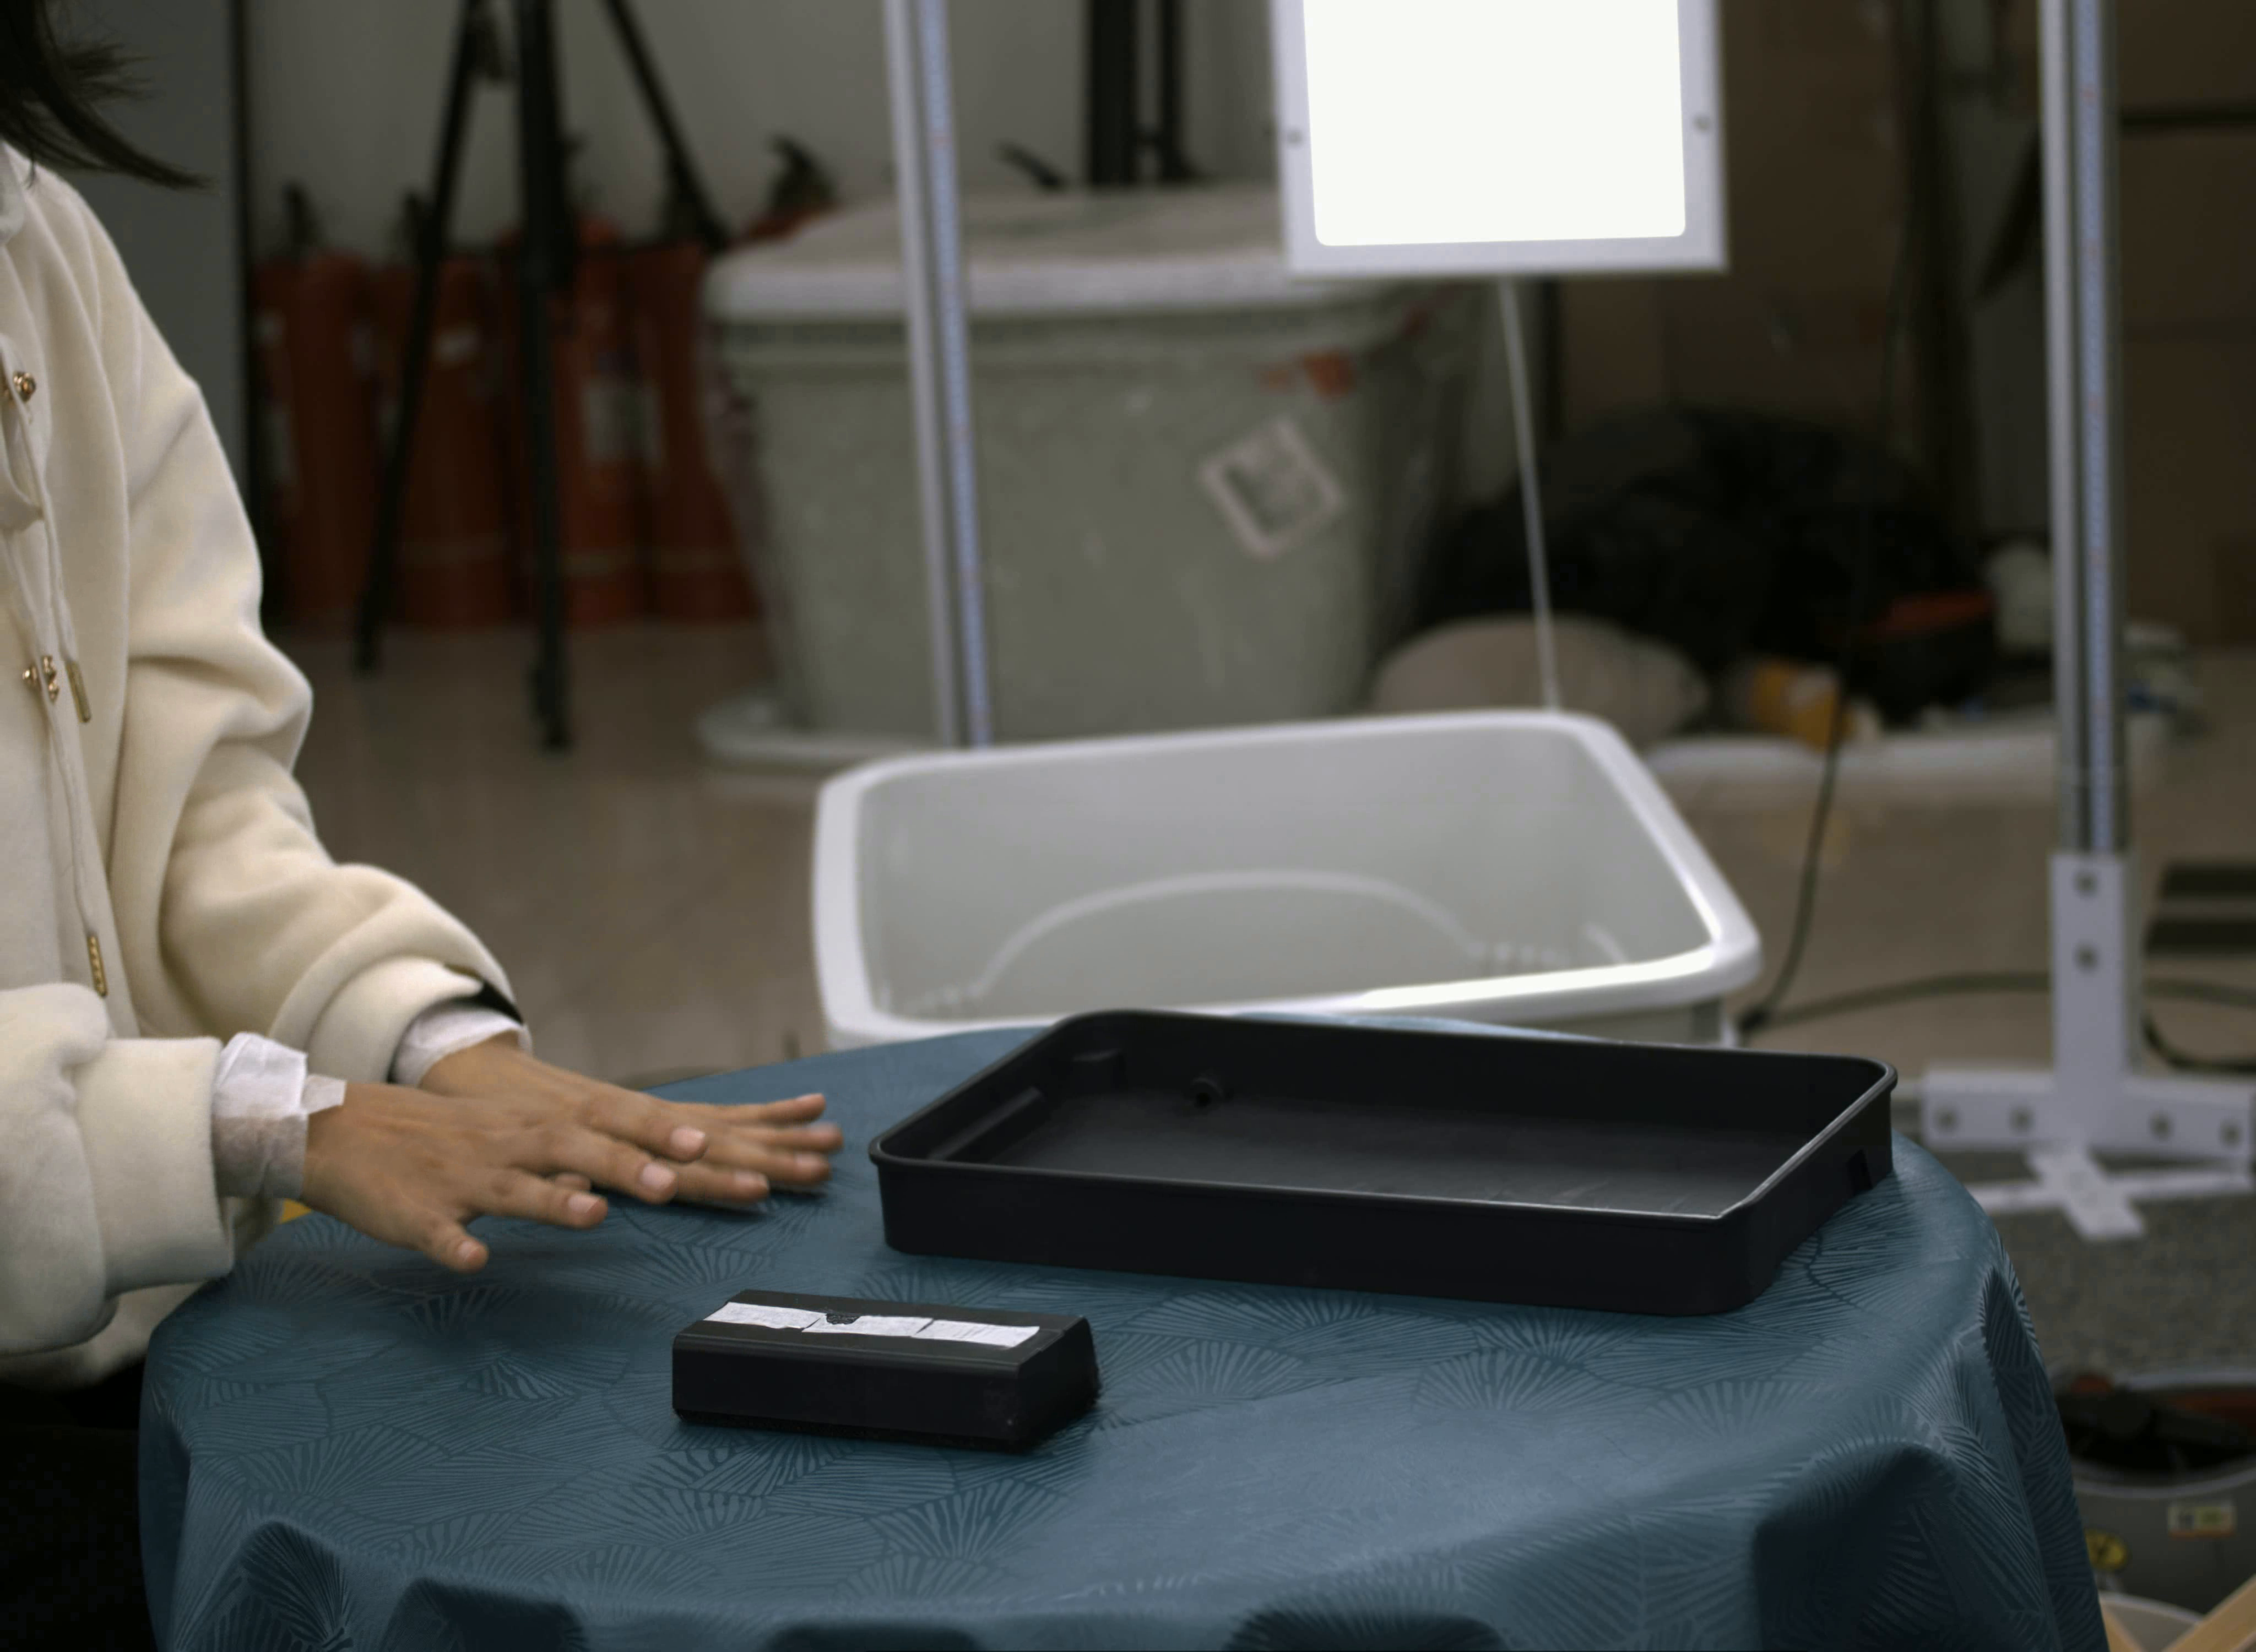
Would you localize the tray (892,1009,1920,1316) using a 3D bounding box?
[{"bbox_3d":[0.095,0.110,1.851,0.323,0.037,0.180,2,15,25],"label":"tray"}]

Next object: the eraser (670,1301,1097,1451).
[{"bbox_3d":[-0.074,0.168,1.697,0.128,0.030,0.052,2,11,27],"label":"eraser"}]
